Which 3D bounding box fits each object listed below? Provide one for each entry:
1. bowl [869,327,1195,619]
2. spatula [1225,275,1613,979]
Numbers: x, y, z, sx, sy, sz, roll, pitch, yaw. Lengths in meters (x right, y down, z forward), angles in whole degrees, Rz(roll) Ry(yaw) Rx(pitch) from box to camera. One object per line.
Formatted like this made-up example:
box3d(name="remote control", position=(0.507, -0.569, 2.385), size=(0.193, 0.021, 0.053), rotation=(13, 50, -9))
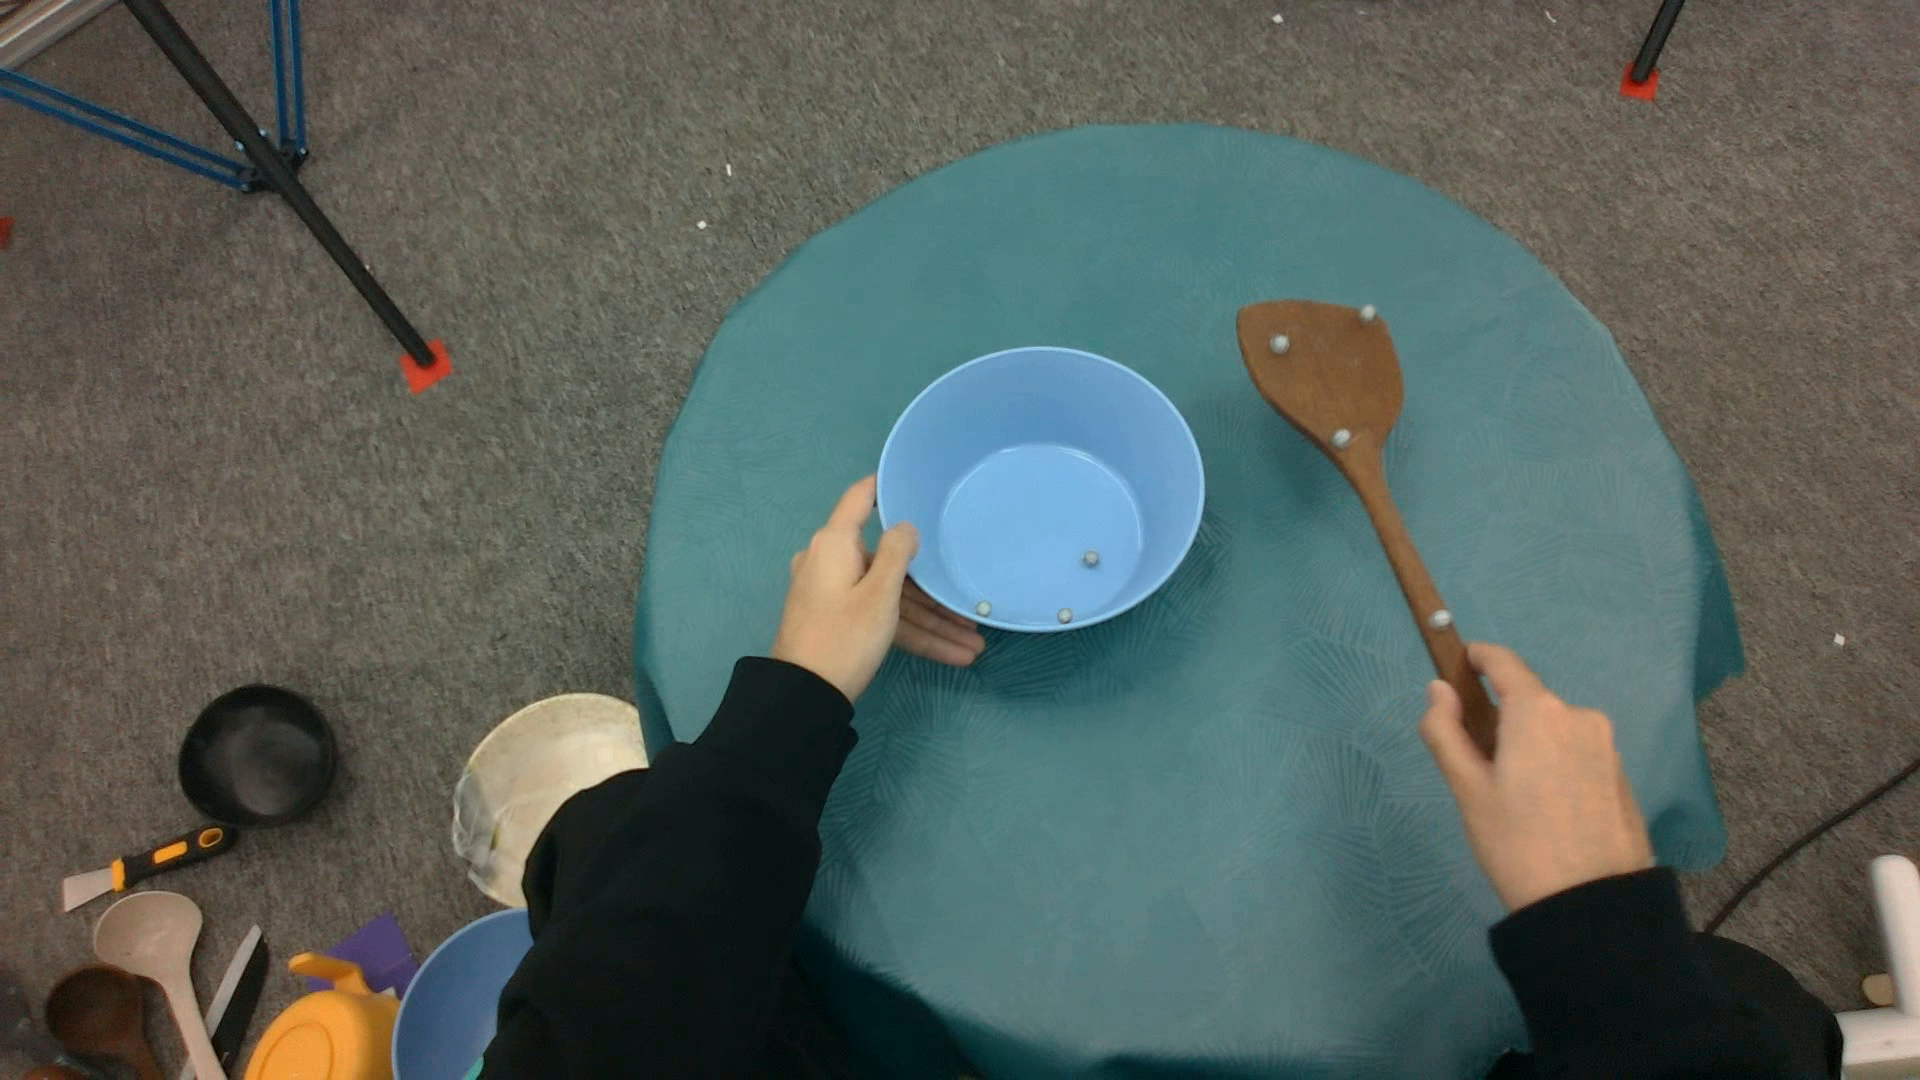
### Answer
box3d(name="bowl", position=(0.040, -0.027, 0.765), size=(0.176, 0.070, 0.176), rotation=(-1, 64, 2))
box3d(name="spatula", position=(0.218, 0.015, 0.655), size=(0.096, 0.015, 0.387), rotation=(-1, 56, -18))
